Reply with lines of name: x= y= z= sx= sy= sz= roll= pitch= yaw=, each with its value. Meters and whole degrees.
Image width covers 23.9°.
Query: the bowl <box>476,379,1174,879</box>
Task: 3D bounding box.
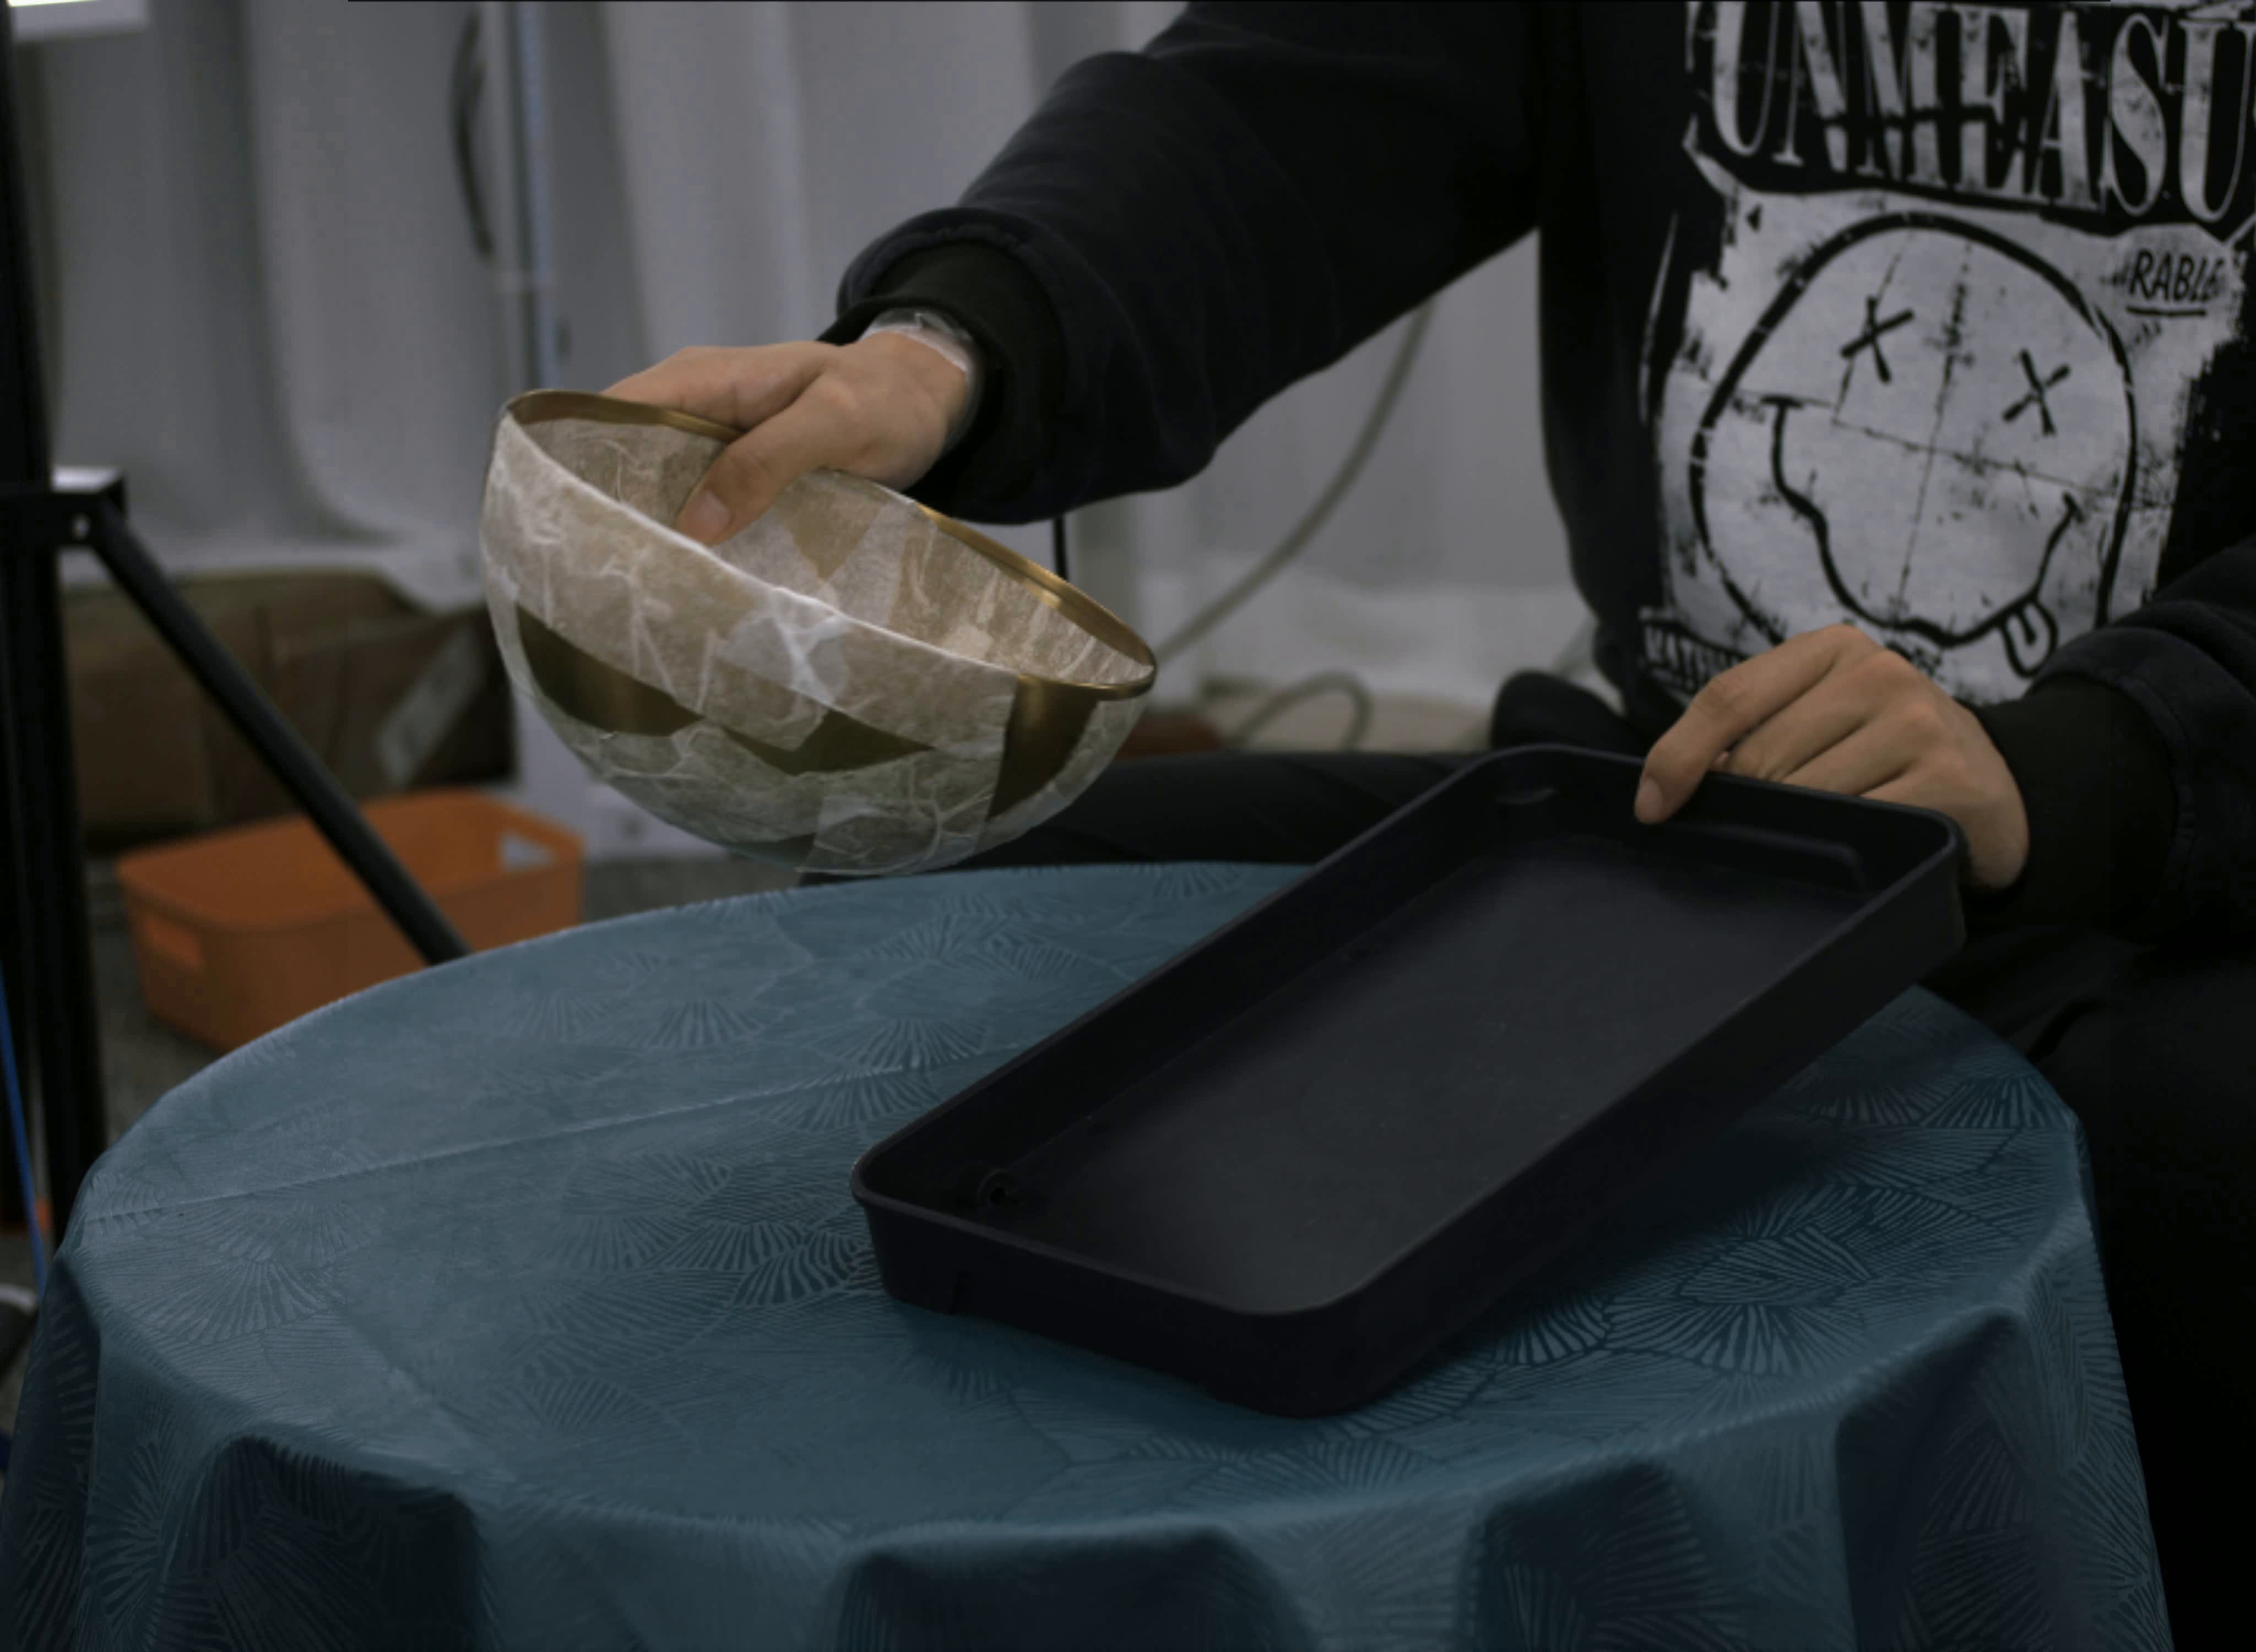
bowl: x=-0.097 y=-0.042 z=1.519 sx=0.213 sy=0.095 sz=0.216 roll=20 pitch=12 yaw=-6

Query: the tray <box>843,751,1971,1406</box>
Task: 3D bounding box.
tray: x=0.086 y=0.064 z=1.518 sx=0.188 sy=0.037 sz=0.312 roll=11 pitch=32 yaw=45
